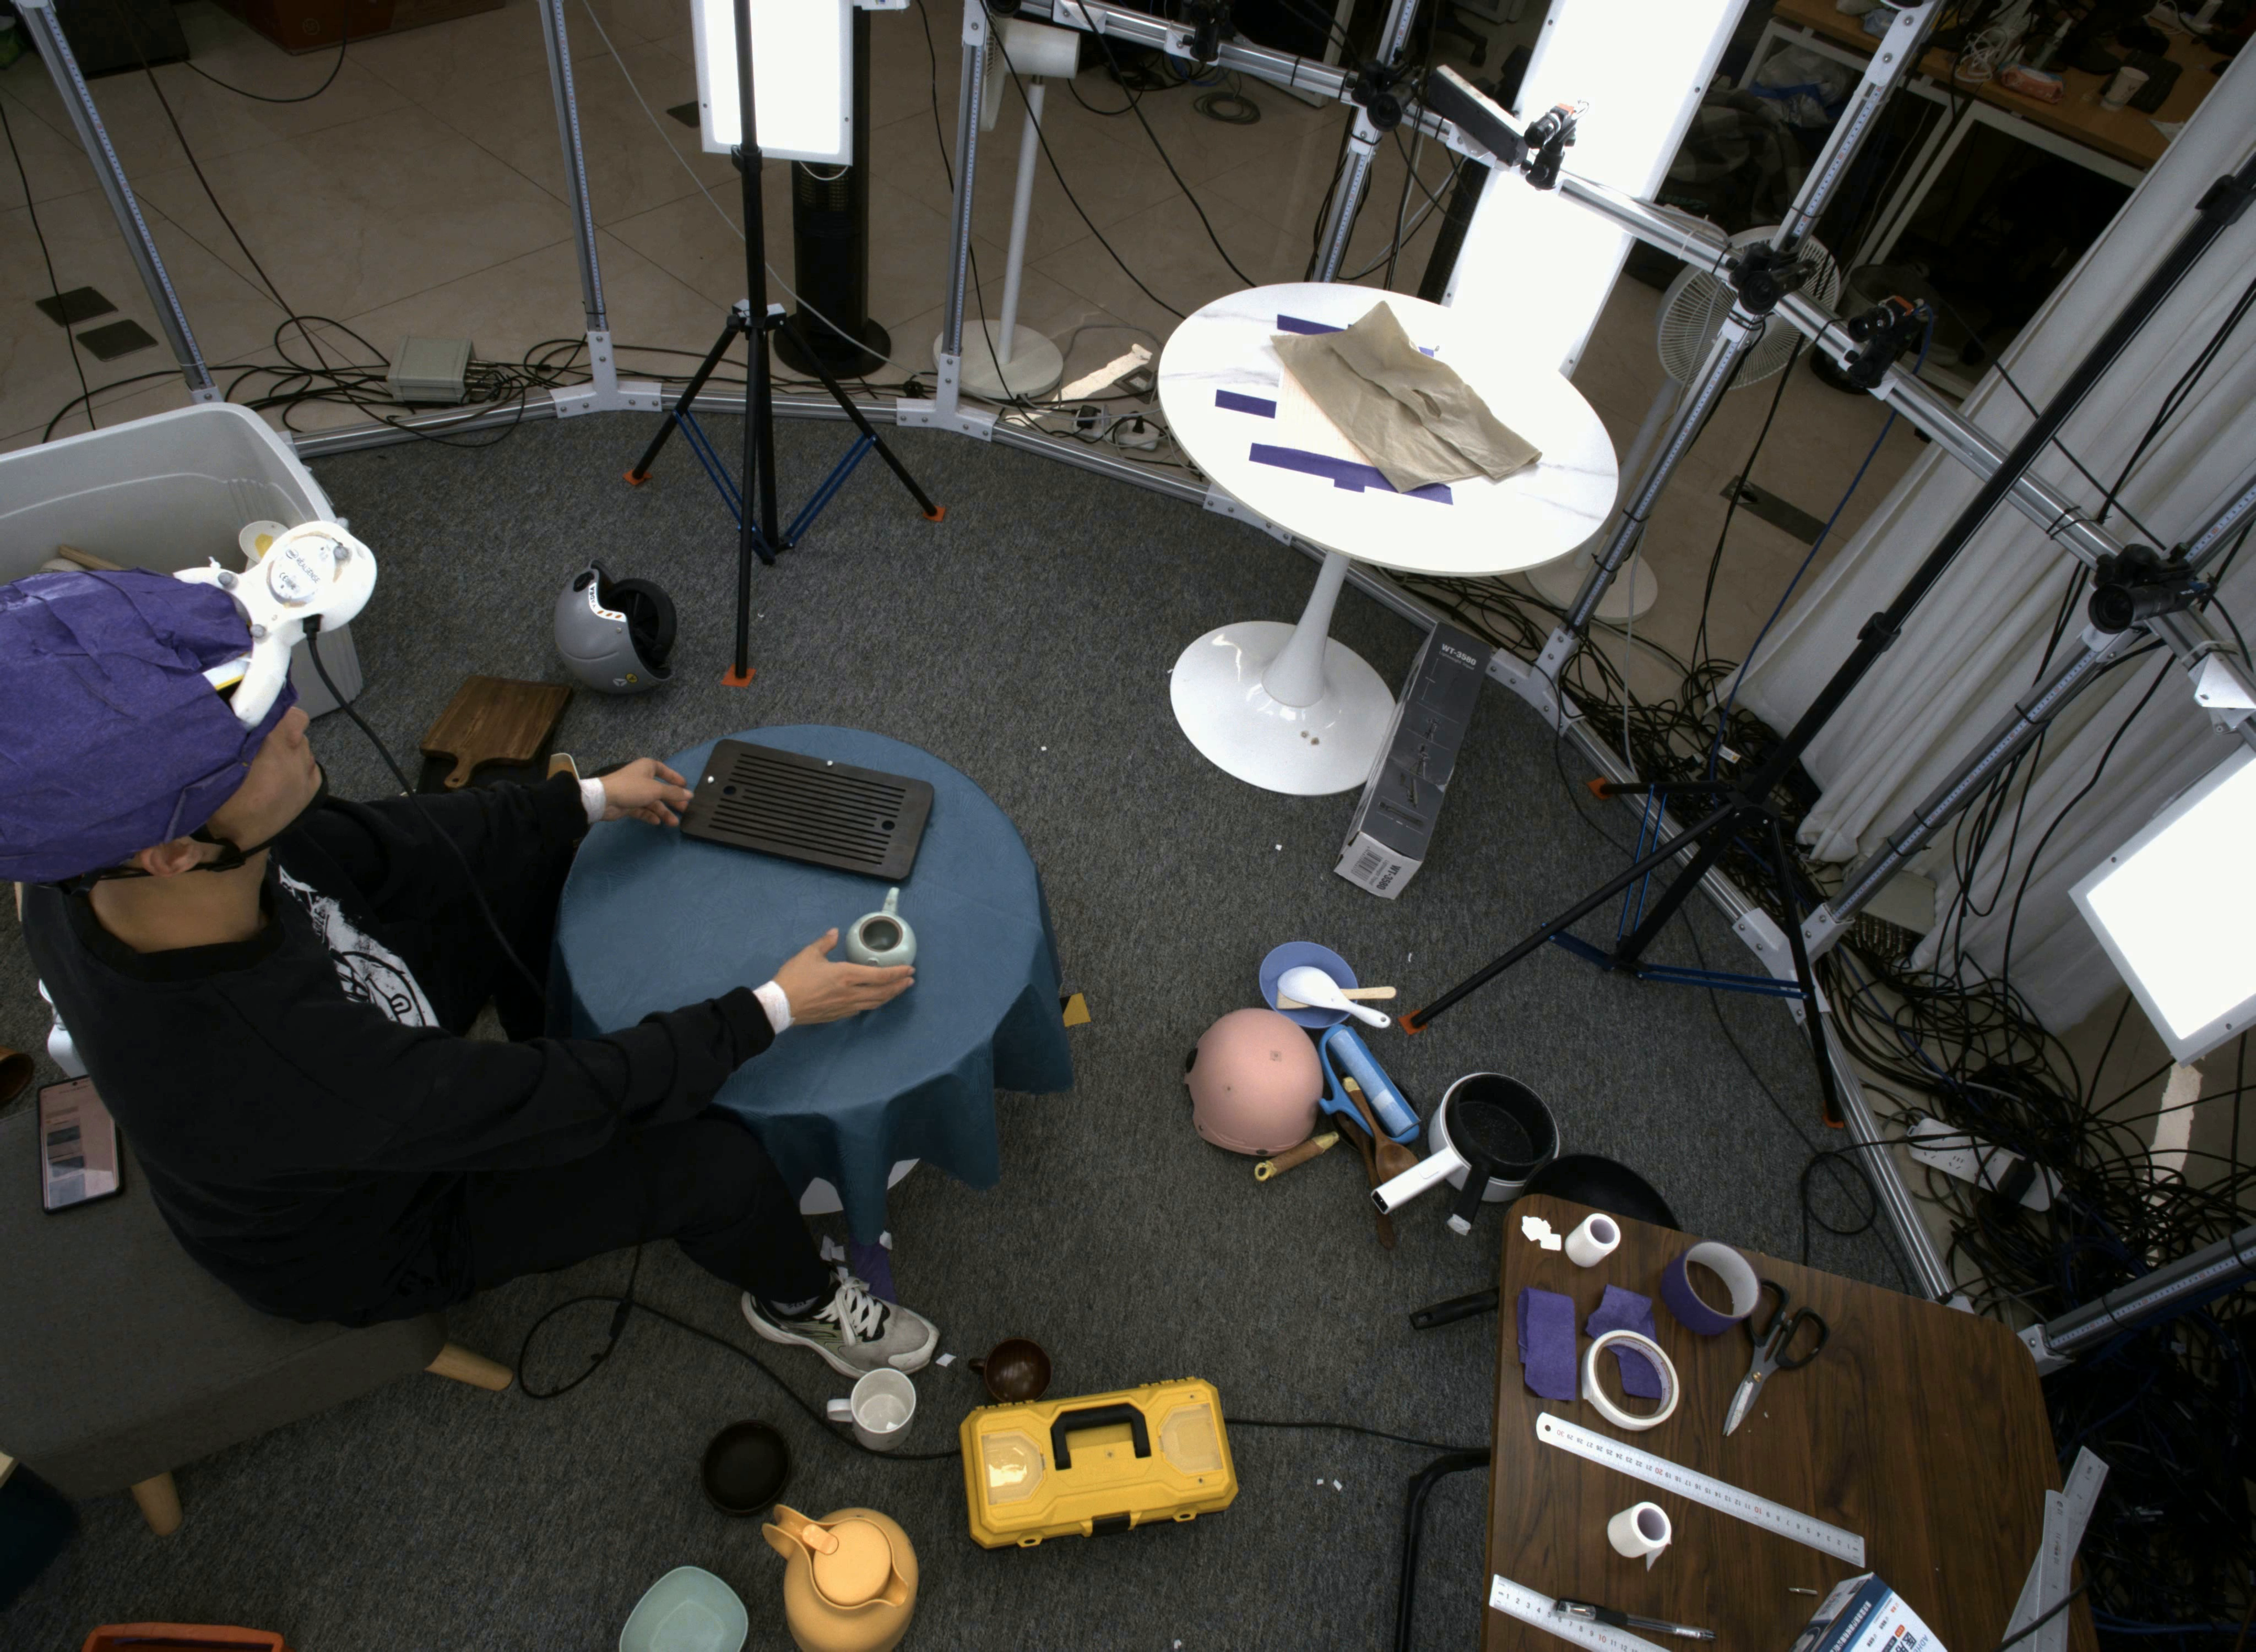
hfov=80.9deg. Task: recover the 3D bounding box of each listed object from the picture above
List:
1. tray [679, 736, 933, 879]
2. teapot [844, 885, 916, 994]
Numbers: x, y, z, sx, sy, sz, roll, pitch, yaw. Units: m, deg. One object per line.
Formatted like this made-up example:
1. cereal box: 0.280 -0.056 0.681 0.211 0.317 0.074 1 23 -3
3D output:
1. tray: -0.425 -0.026 1.729 0.304 0.019 0.167 13 52 -5
2. teapot: -0.305 0.146 1.596 0.088 0.076 0.142 14 50 -3
